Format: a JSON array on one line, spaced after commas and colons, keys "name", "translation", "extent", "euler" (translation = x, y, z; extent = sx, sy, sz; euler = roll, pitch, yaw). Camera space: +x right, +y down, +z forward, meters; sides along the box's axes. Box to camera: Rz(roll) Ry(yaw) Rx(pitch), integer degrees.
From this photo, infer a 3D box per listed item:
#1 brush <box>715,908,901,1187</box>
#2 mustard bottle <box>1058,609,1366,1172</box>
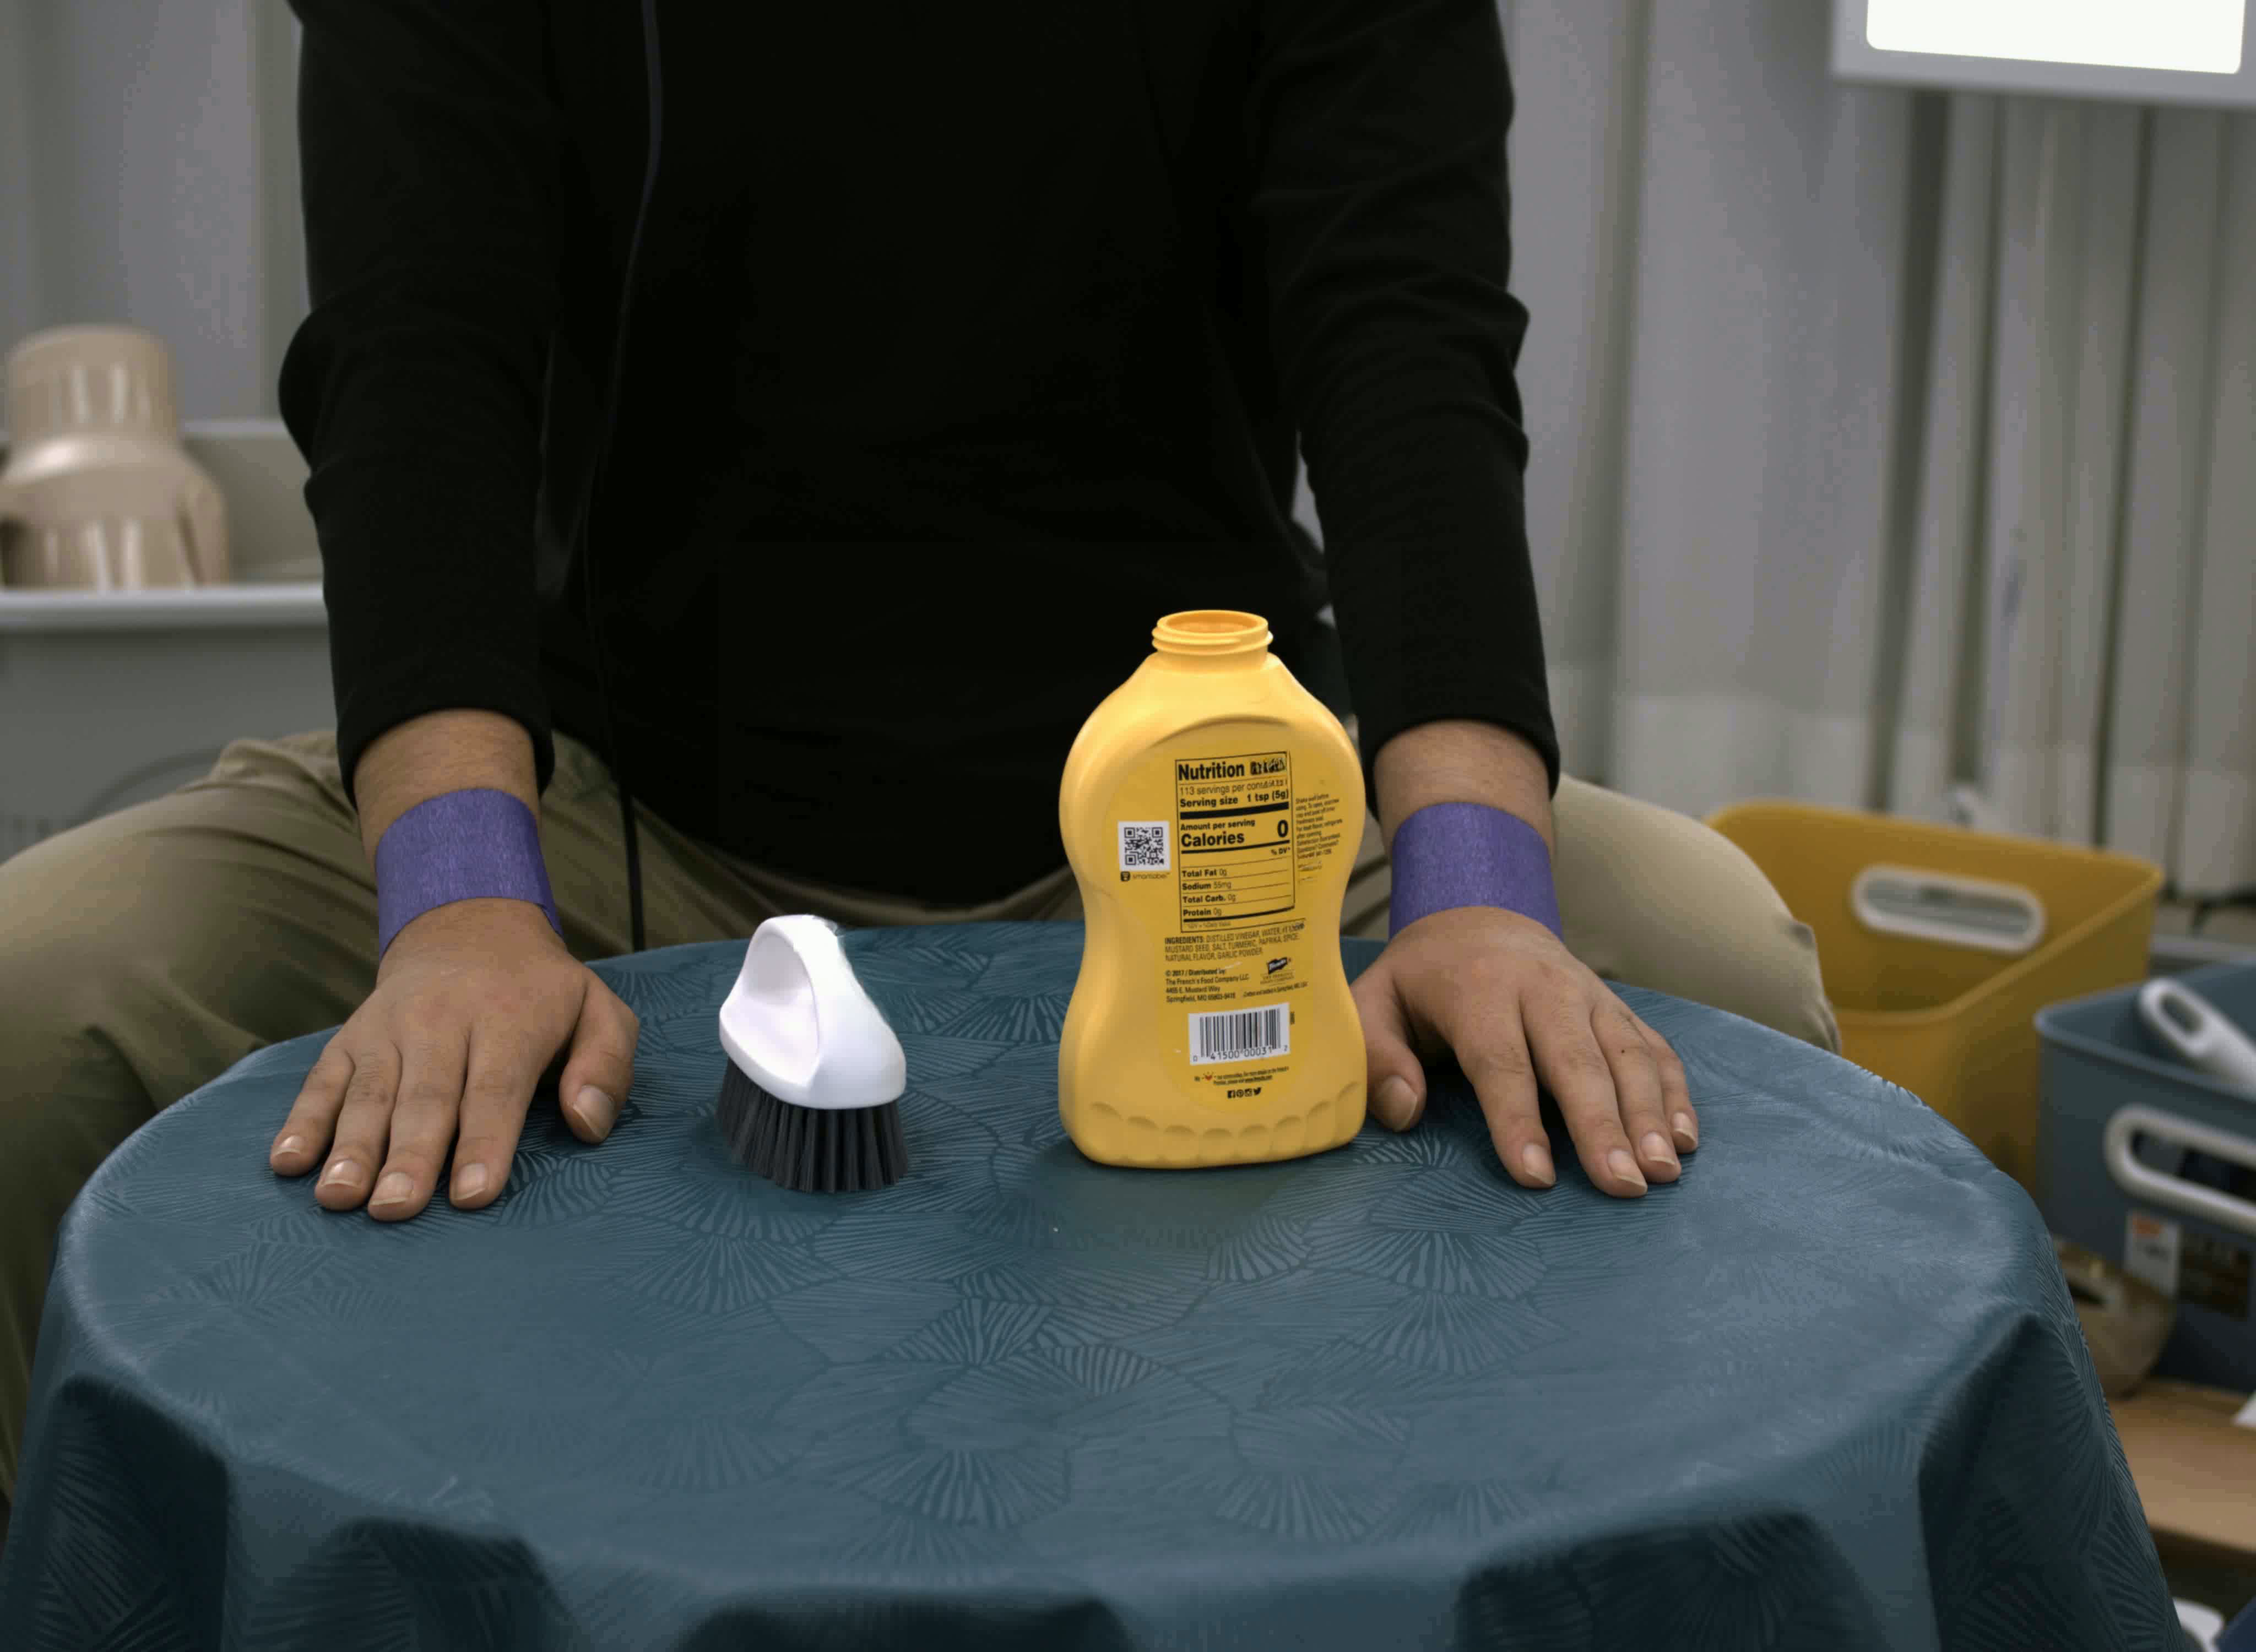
[{"name": "brush", "translation": [-0.101, 0.064, 1.651], "extent": [0.050, 0.073, 0.098], "euler": [-3, 17, -17]}, {"name": "mustard bottle", "translation": [0.025, 0.019, 1.641], "extent": [0.098, 0.173, 0.059], "euler": [-6, 15, -15]}]
